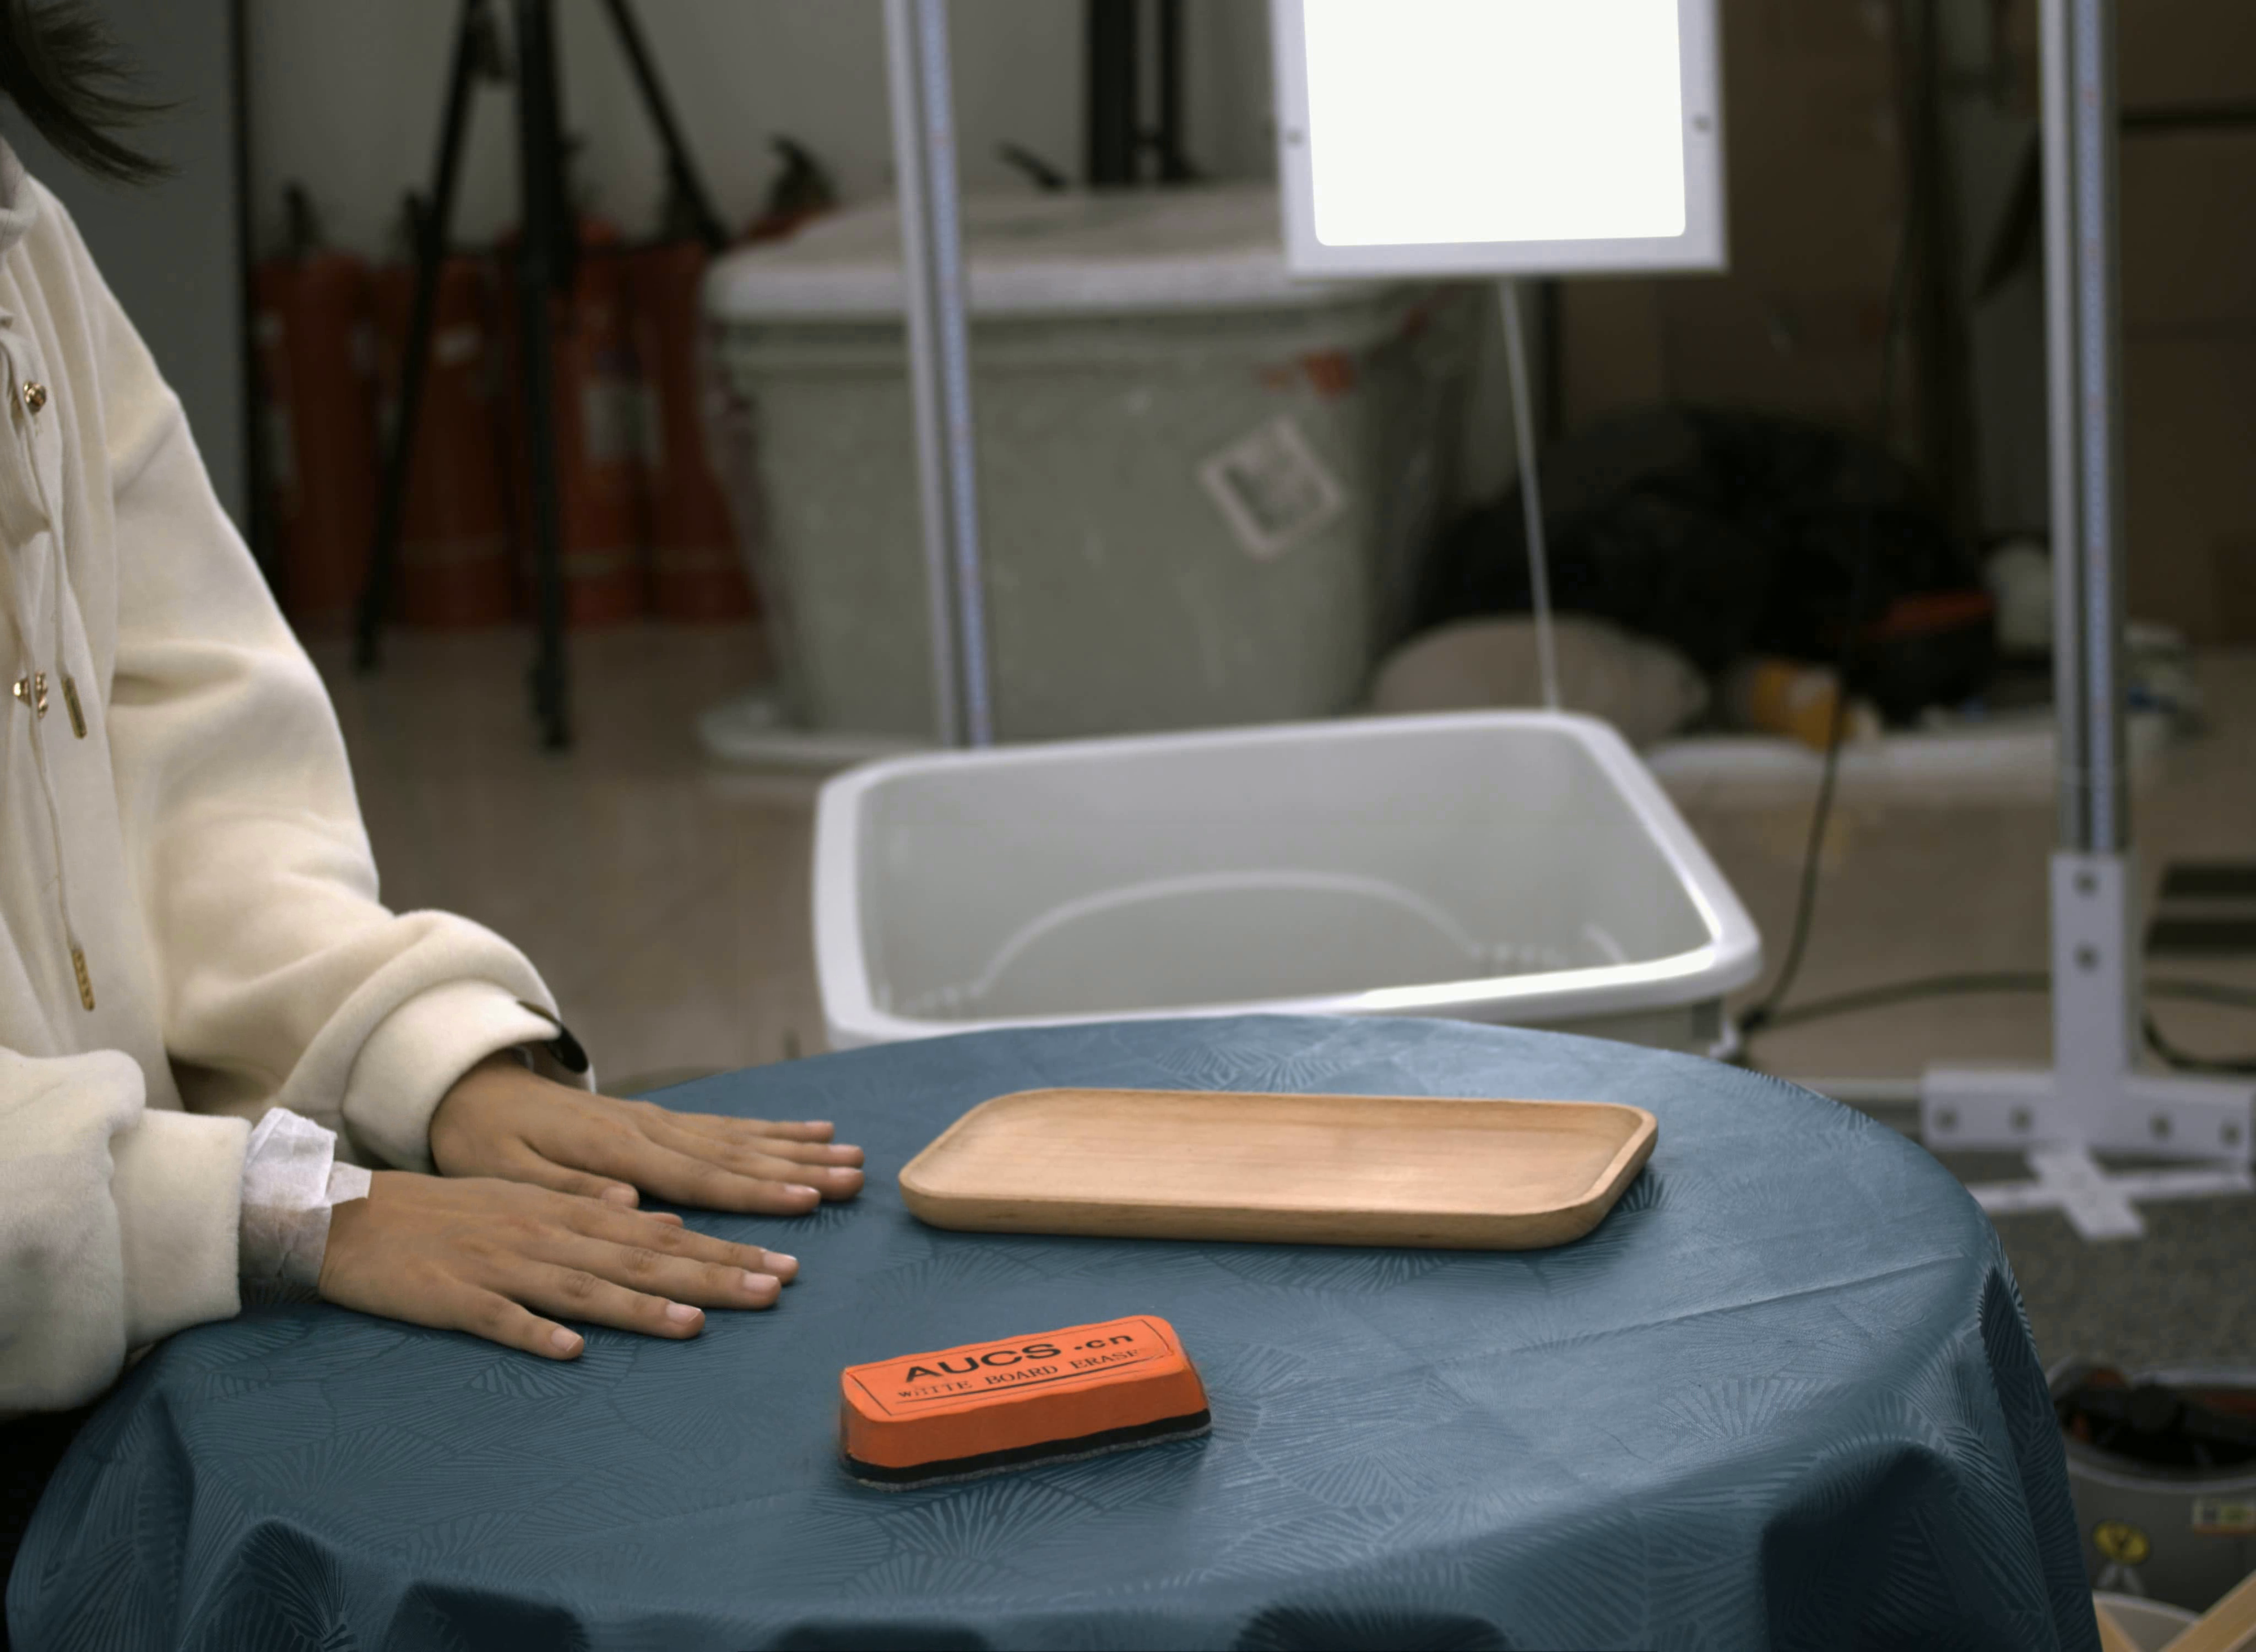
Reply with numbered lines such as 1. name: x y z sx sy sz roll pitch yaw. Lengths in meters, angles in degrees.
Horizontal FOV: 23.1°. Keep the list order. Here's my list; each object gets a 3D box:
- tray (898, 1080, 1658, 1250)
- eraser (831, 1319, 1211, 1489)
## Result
1. tray: 0.052 0.115 1.887 0.254 0.023 0.128 0 12 23
2. eraser: -0.032 0.174 1.667 0.106 0.023 0.059 -8 15 -14
